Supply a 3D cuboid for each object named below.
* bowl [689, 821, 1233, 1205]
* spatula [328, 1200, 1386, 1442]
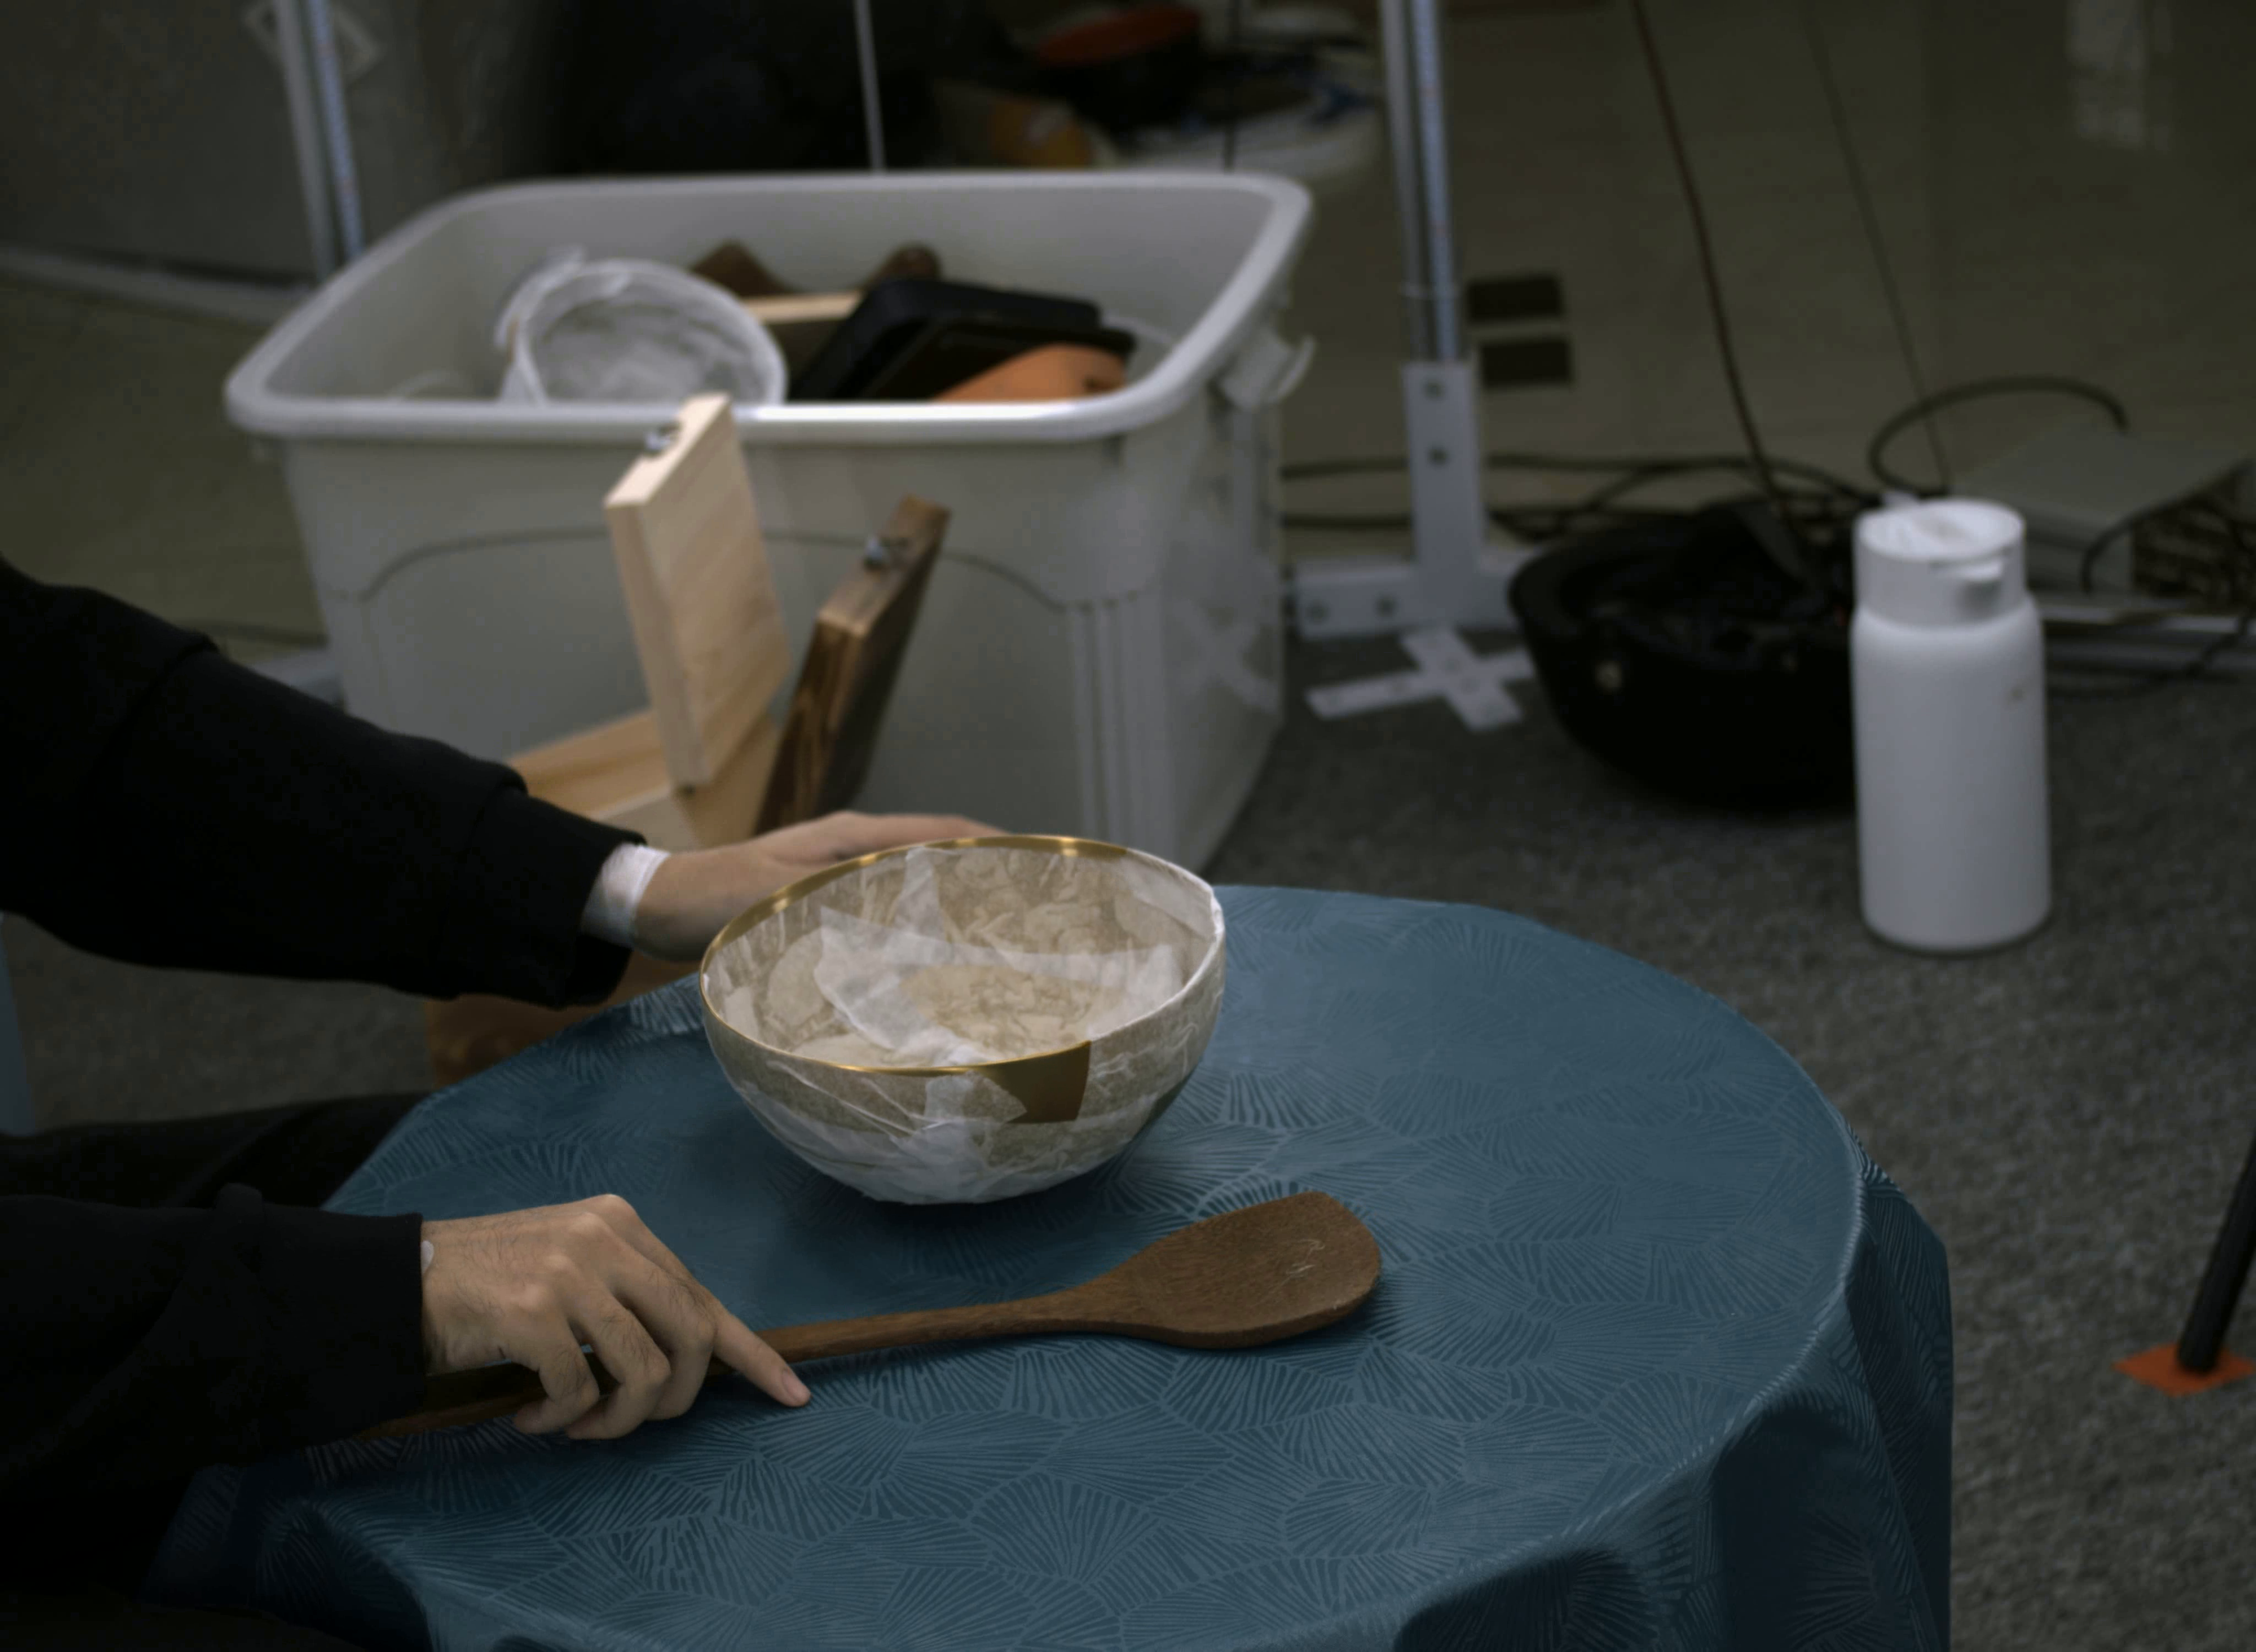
[{"bbox_3d":[-0.060,0.084,2.172,0.214,0.096,0.211,-6,27,3],"label":"bowl"},{"bbox_3d":[-0.097,0.185,2.052,0.385,0.016,0.095,-8,24,-8],"label":"spatula"}]
